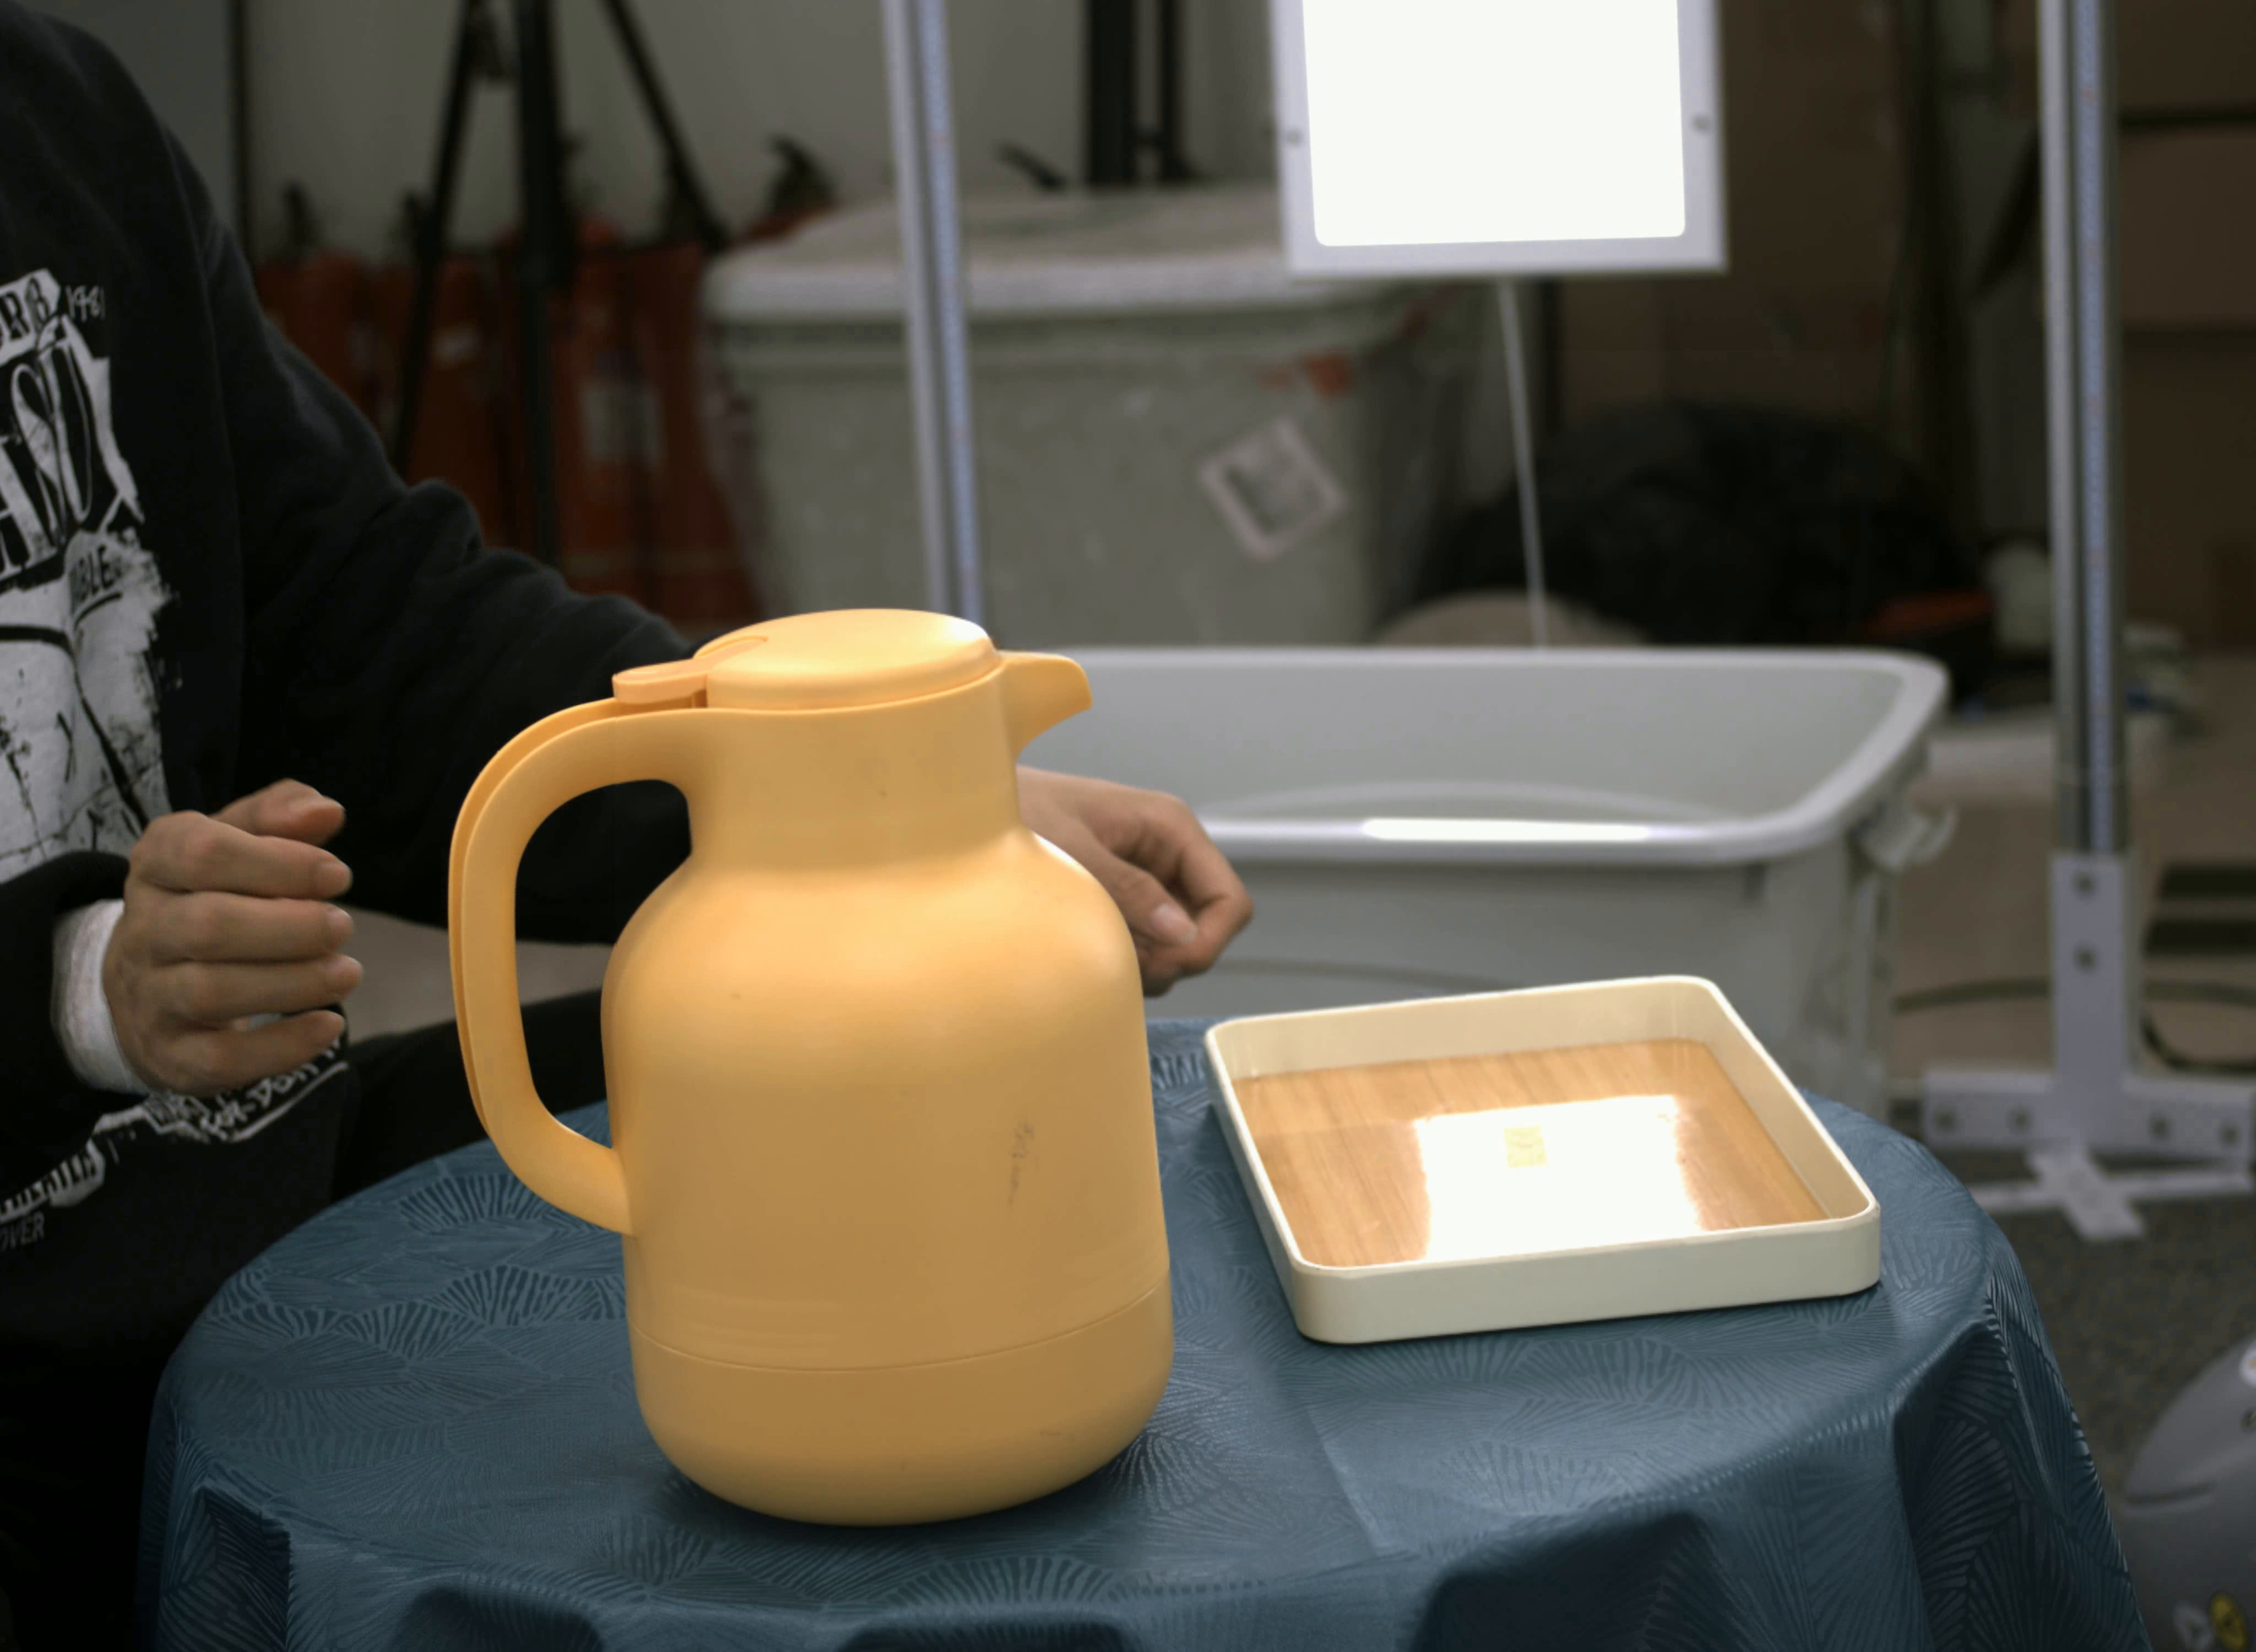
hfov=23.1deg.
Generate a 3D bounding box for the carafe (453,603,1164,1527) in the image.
[{"bbox_3d":[-0.094,0.068,1.624,0.200,0.261,0.164,-6,11,-11],"label":"carafe"}]

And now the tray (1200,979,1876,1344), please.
[{"bbox_3d":[0.133,0.109,1.864,0.190,0.027,0.300,-6,14,-3],"label":"tray"}]
